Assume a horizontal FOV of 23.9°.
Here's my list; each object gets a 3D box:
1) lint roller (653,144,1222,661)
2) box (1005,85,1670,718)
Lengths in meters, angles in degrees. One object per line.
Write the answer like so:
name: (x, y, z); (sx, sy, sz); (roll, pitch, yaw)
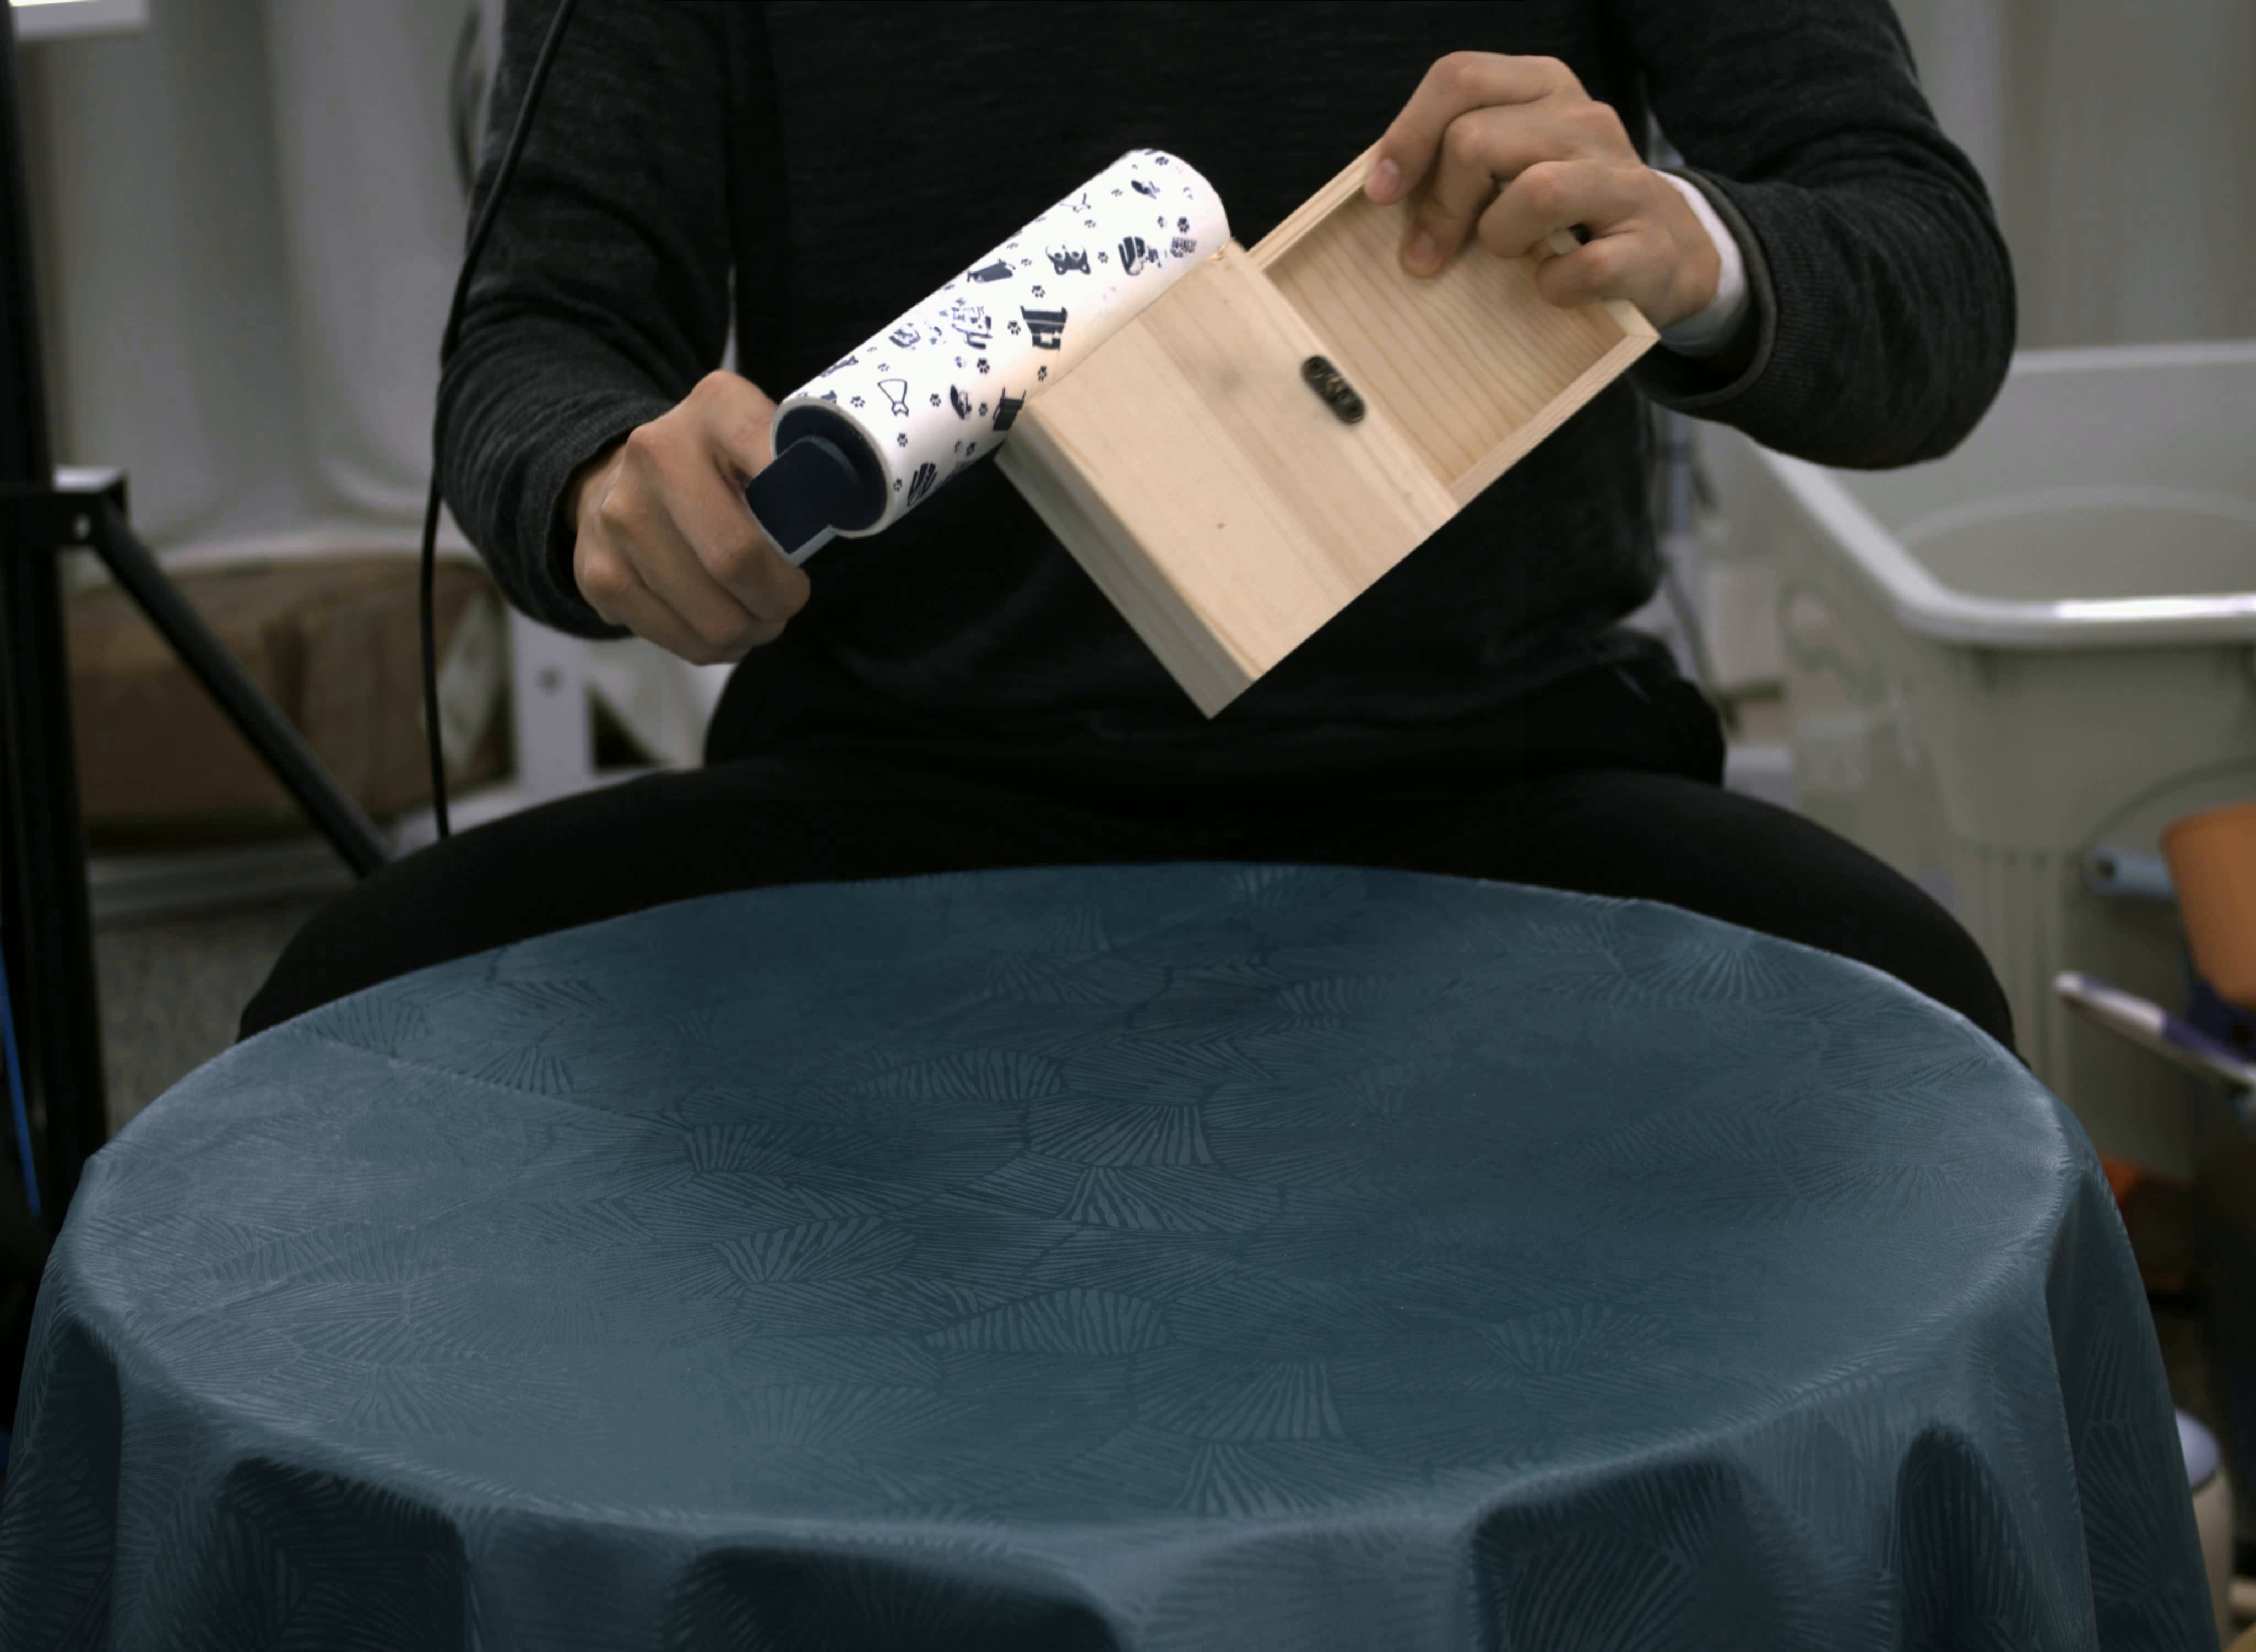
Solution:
lint roller: (-0.090, -0.110, 1.633); (0.174, 0.050, 0.250); (-41, 6, -37)
box: (0.068, -0.131, 1.543); (0.183, 0.103, 0.134); (-39, -1, -8)
